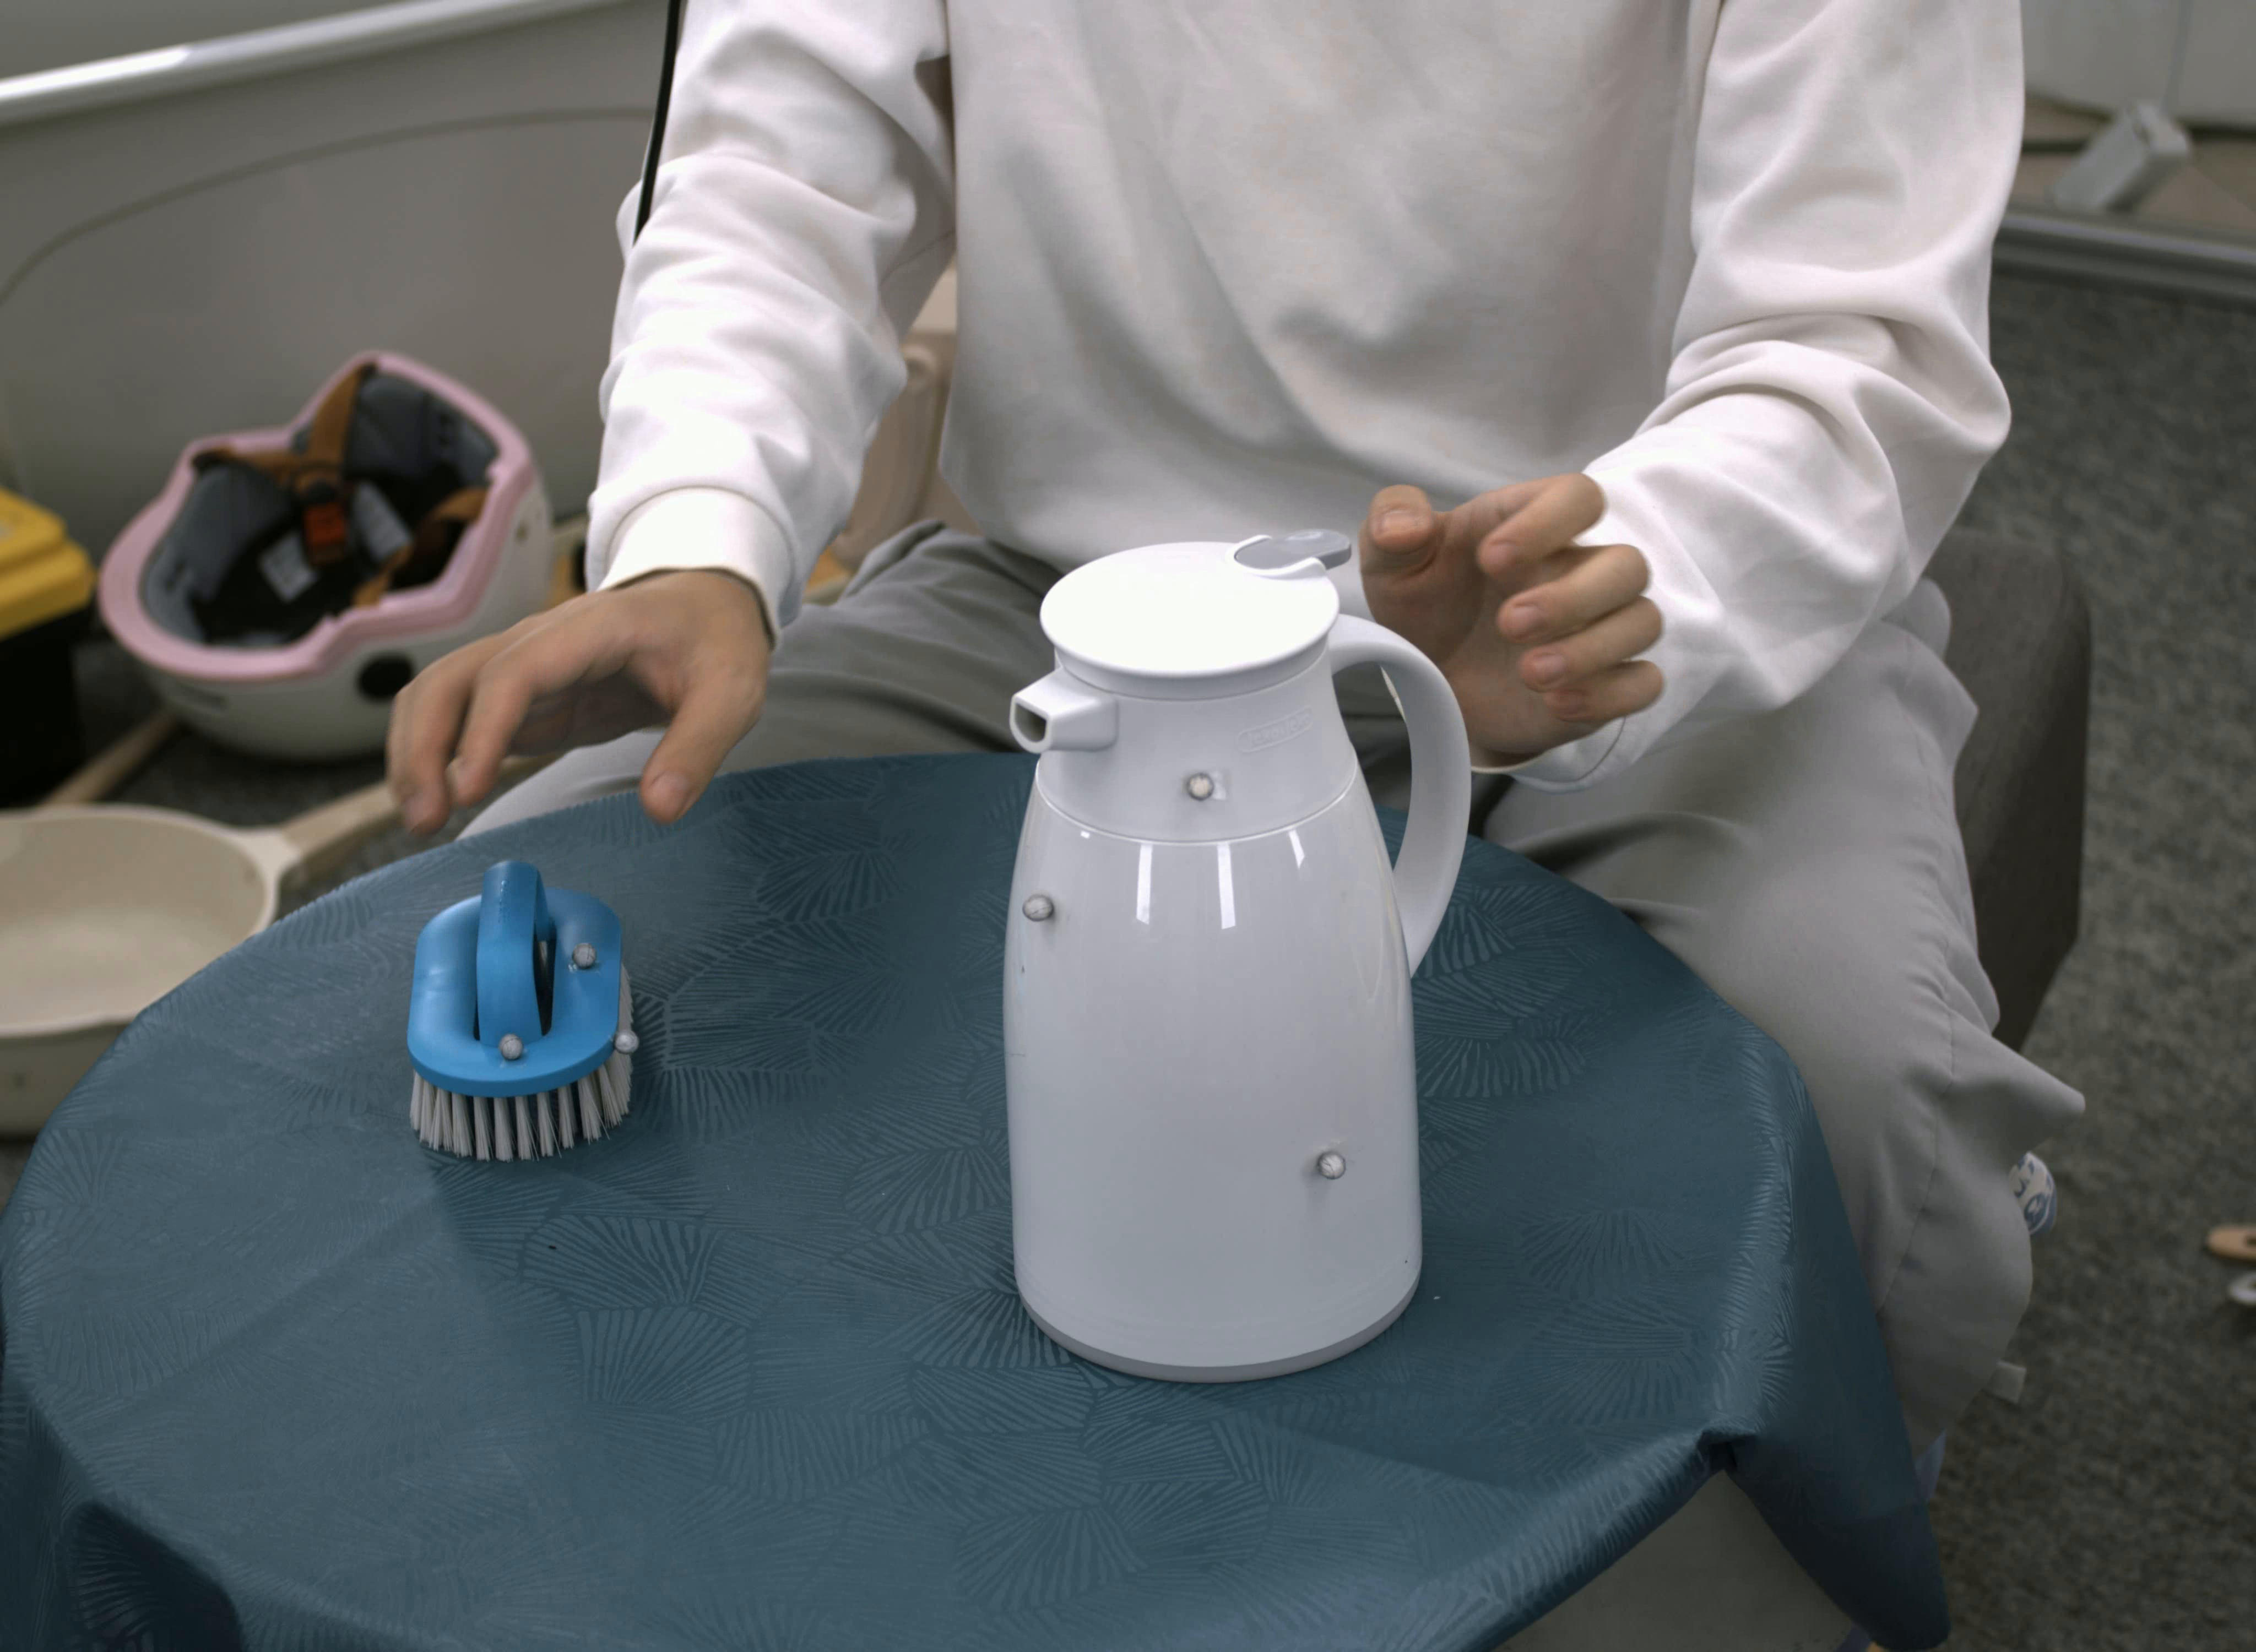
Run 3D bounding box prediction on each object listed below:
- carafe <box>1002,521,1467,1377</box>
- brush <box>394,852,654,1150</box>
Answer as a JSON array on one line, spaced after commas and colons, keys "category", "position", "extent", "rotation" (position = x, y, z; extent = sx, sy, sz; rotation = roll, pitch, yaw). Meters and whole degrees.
[{"category": "carafe", "position": [0.038, 0.027, 1.775], "extent": [0.169, 0.246, 0.132], "rotation": [-21, 32, -34]}, {"category": "brush", "position": [-0.210, 0.052, 1.946], "extent": [0.084, 0.063, 0.144], "rotation": [-7, 27, 1]}]
